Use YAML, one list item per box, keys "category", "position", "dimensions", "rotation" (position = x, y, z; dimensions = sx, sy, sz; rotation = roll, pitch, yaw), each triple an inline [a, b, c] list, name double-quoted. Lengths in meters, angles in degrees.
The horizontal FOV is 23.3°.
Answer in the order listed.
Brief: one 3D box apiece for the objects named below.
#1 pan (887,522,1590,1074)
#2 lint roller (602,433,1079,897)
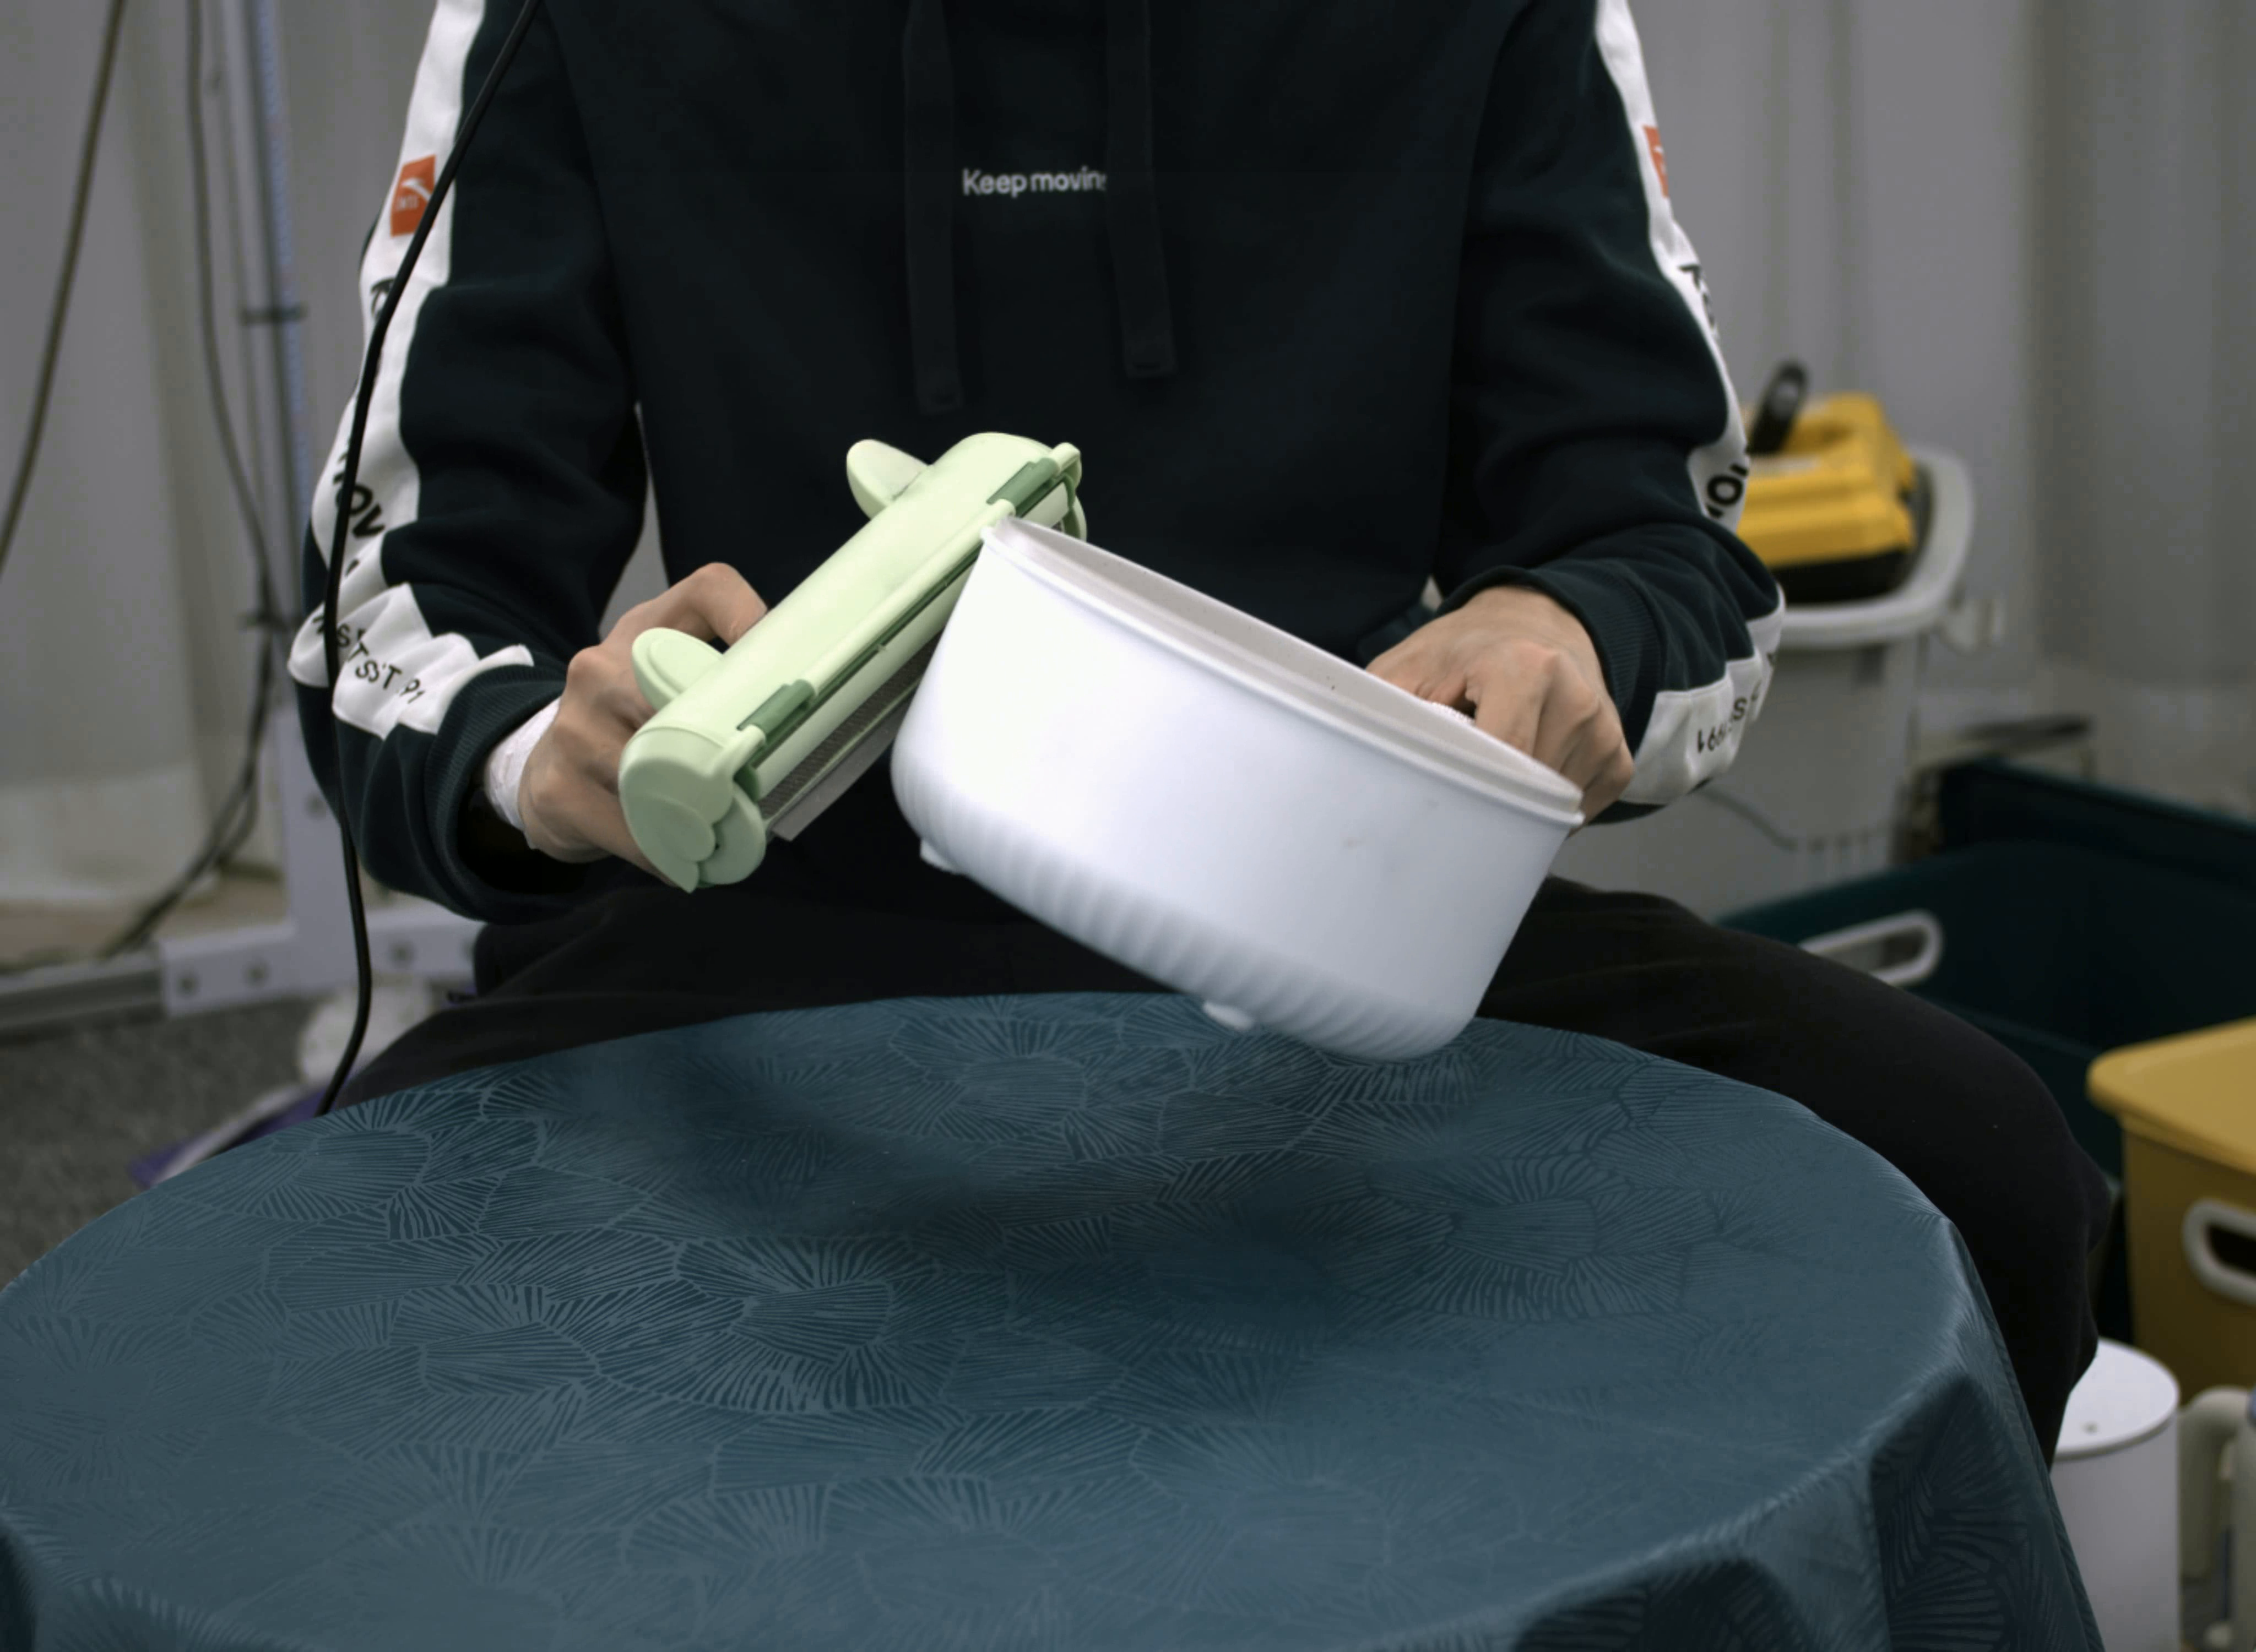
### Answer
- category: "pan"
  position: [0.055, 0.004, 1.717]
  dimensions: [0.202, 0.102, 0.352]
  rotation: [28, 6, 23]
- category: "lint roller"
  position: [-0.123, -0.045, 1.718]
  dimensions: [0.183, 0.082, 0.200]
  rotation: [-20, 19, 45]
